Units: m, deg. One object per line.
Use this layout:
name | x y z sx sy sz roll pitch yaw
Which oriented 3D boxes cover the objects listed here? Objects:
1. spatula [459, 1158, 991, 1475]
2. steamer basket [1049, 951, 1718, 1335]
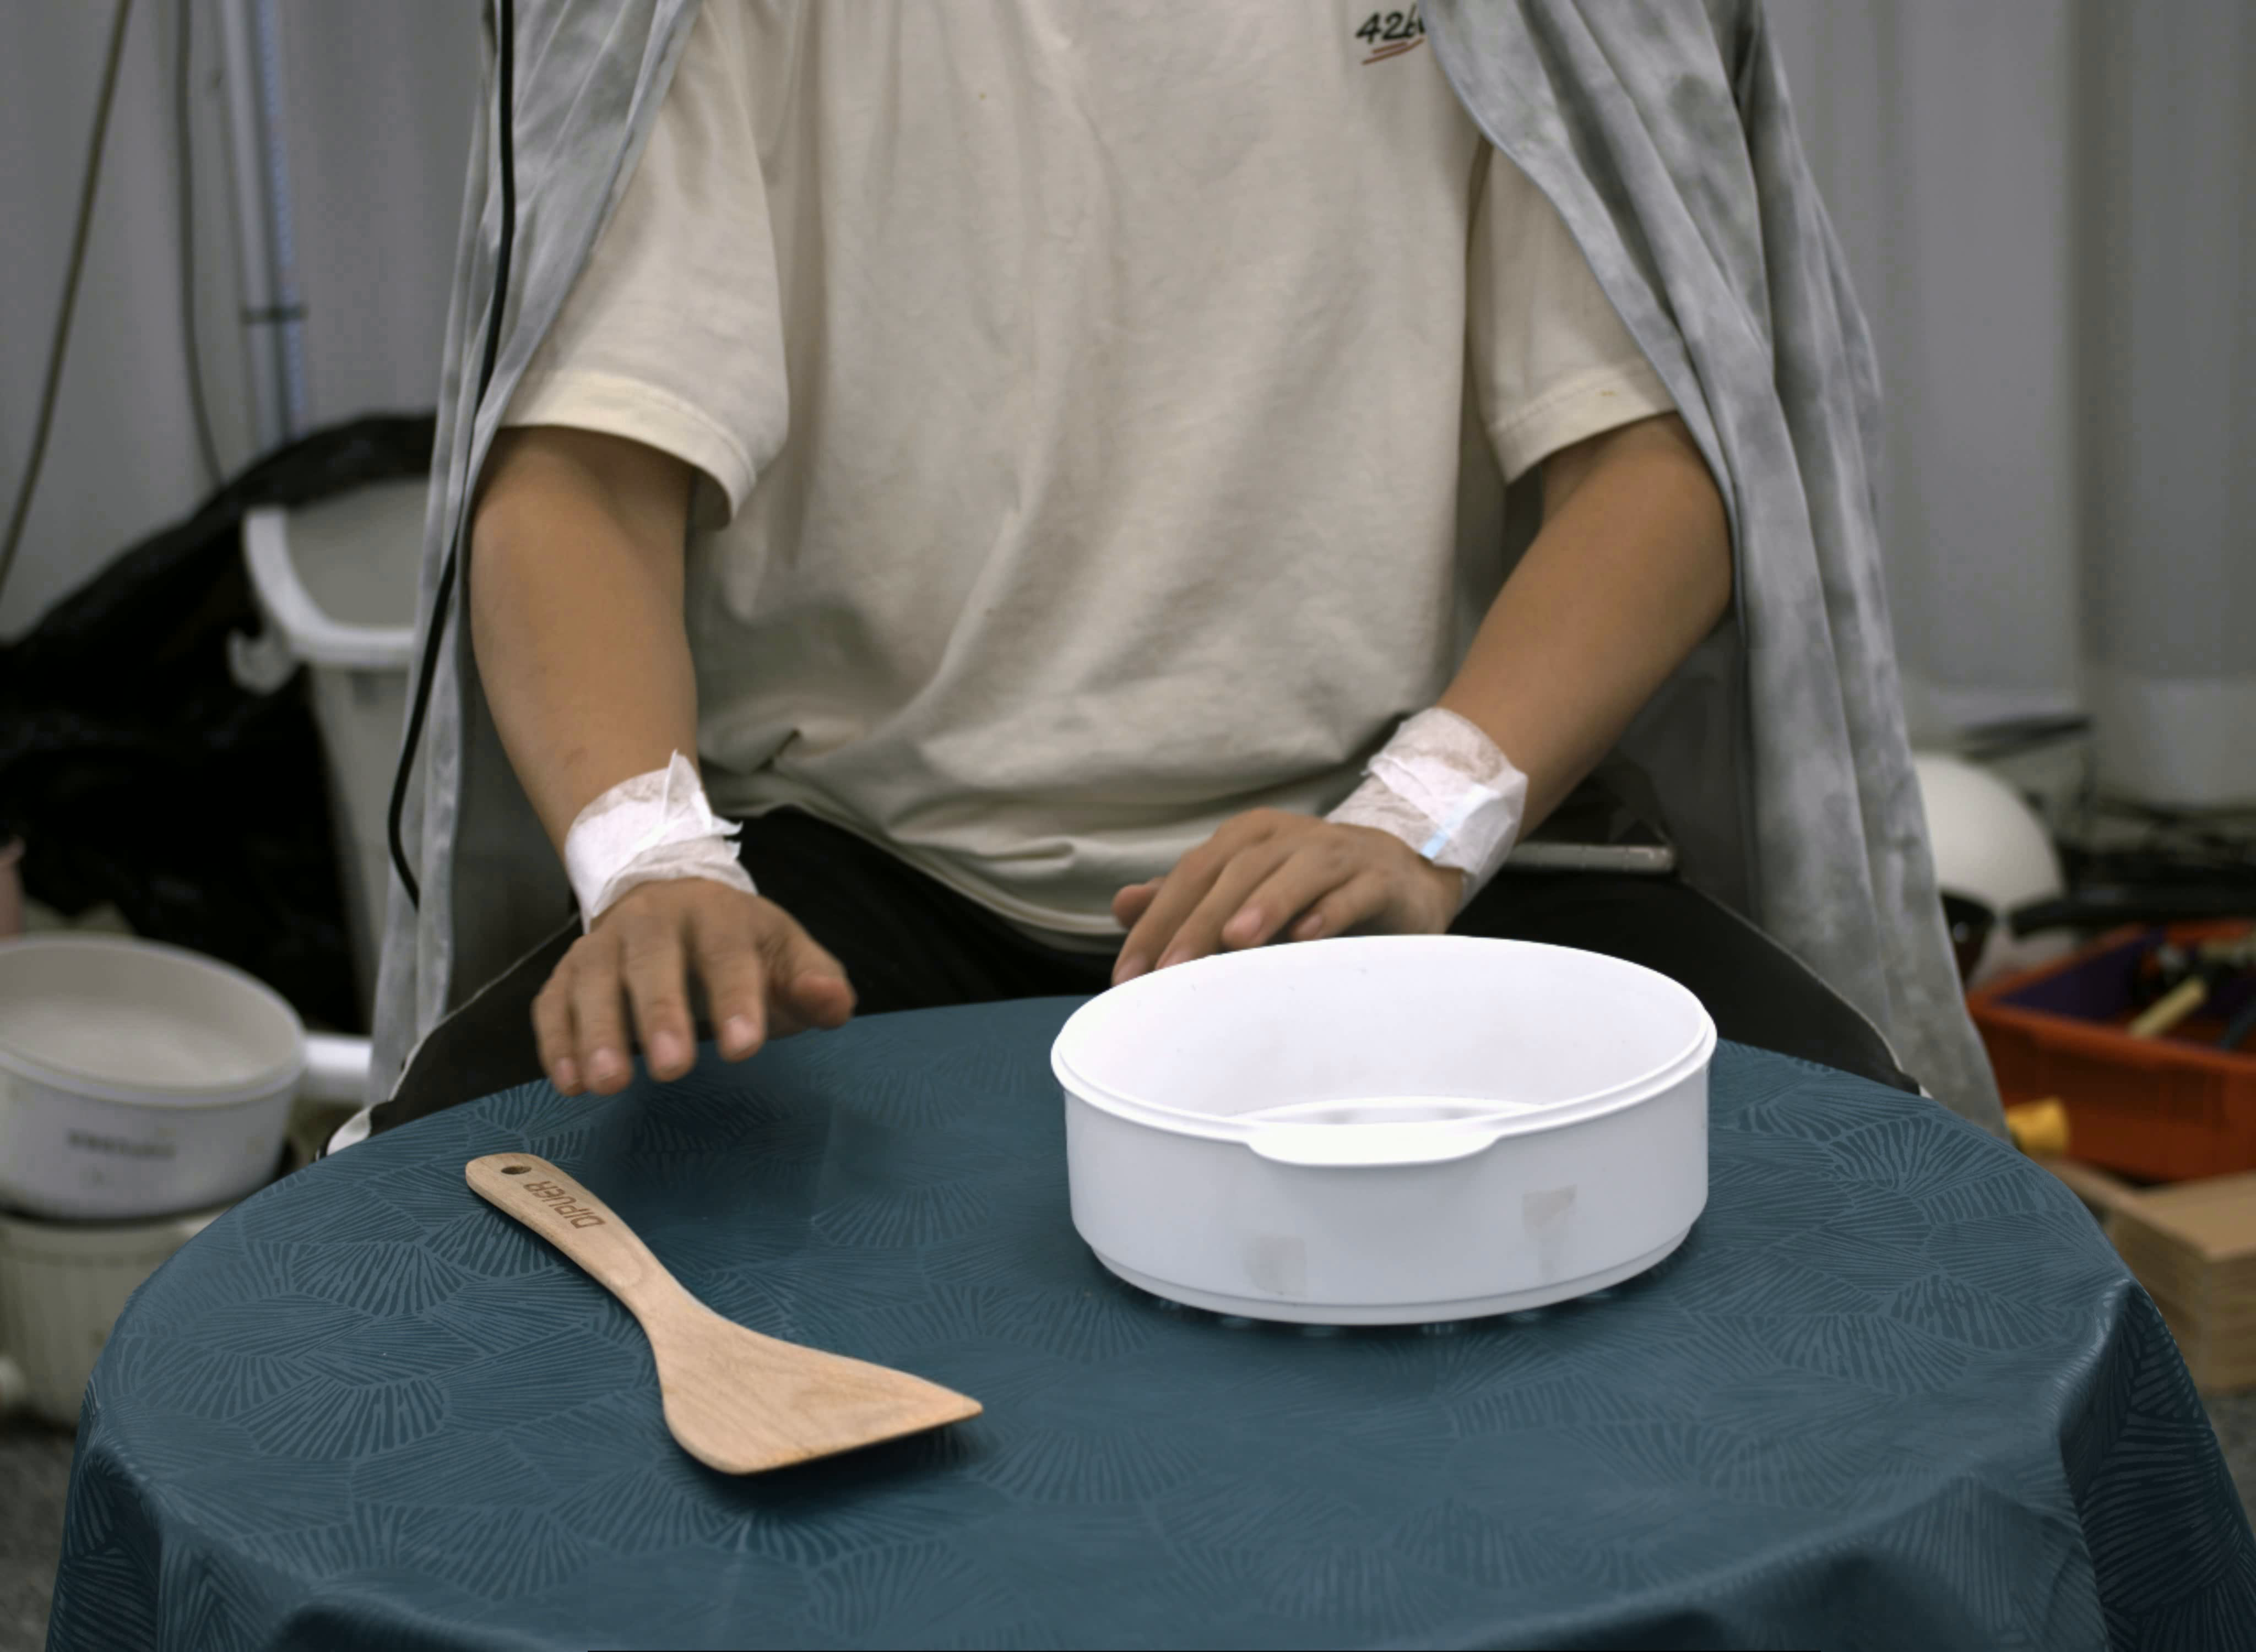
spatula | -0.135 0.140 1.617 0.079 0.016 0.330 -9 16 -24
steamer basket | 0.077 0.095 1.653 0.201 0.069 0.232 0 14 5
